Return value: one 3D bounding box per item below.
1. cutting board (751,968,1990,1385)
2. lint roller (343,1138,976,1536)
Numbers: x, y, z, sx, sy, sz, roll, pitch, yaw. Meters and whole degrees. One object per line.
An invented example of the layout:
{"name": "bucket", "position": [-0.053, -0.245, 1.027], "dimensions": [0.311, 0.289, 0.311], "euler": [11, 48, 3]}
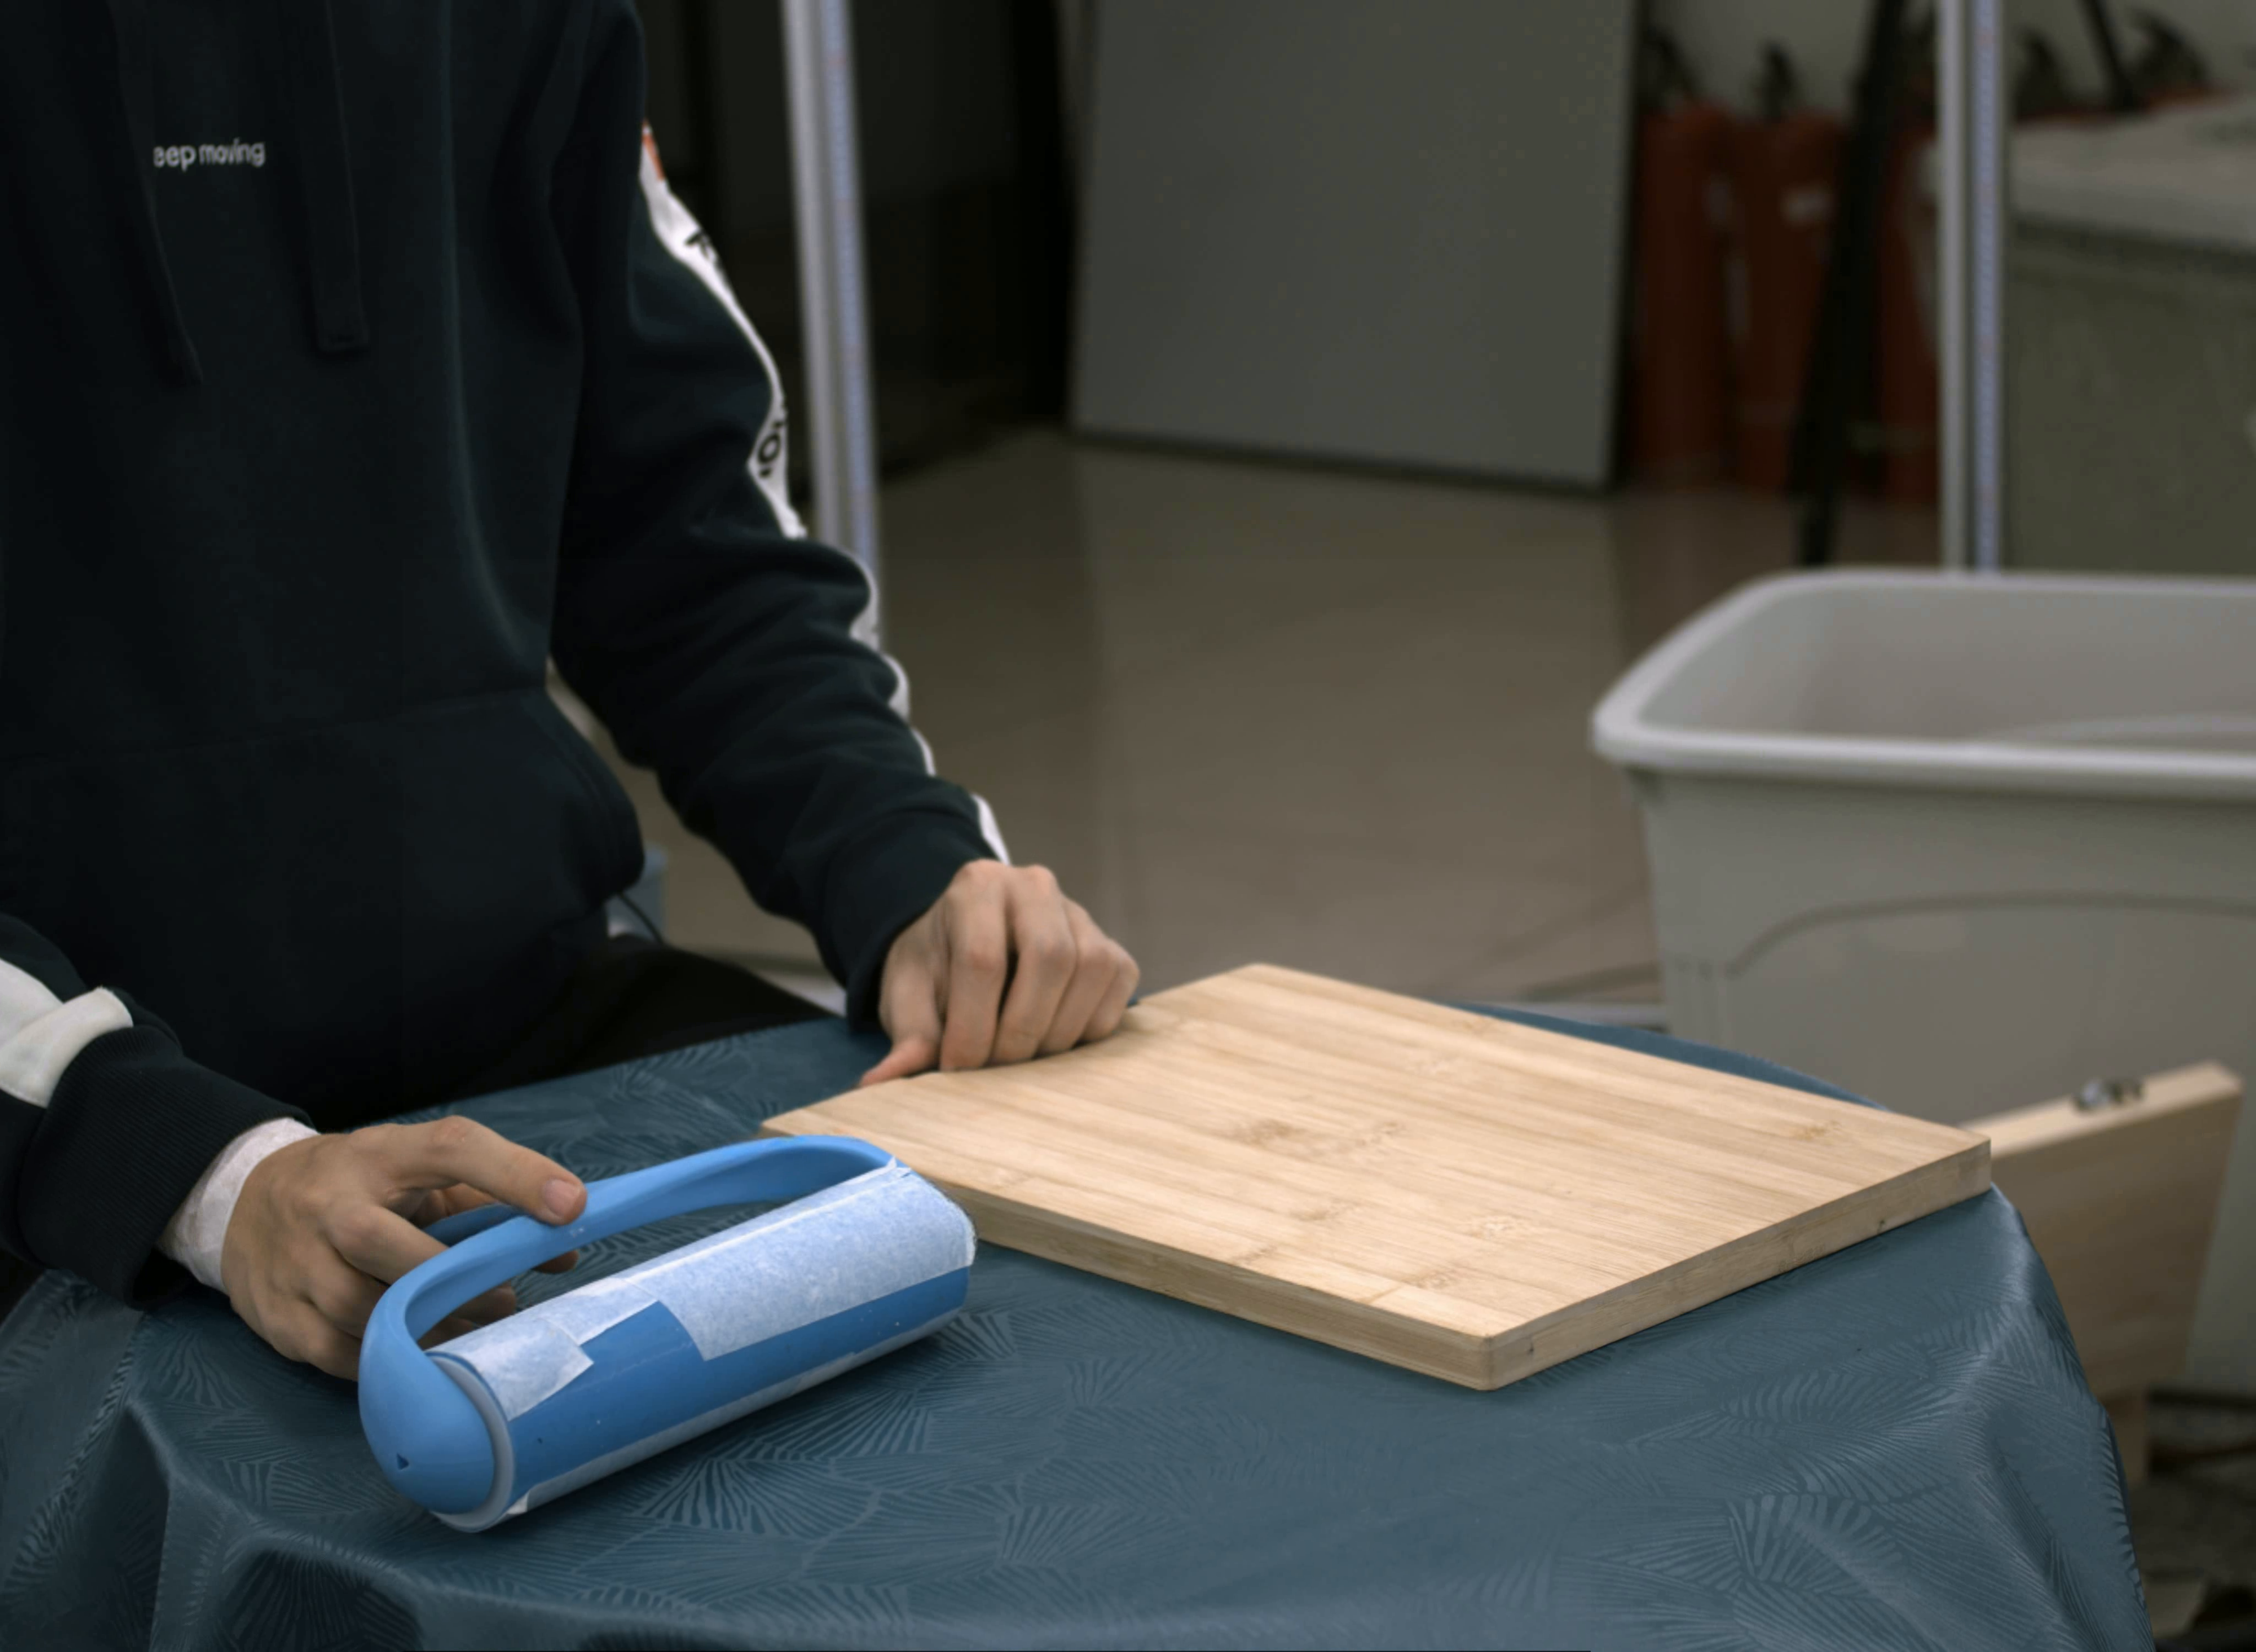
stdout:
{"name": "cutting board", "position": [0.074, 0.109, 1.766], "dimensions": [0.245, 0.024, 0.352], "euler": [-16, 18, -40]}
{"name": "lint roller", "position": [-0.172, 0.144, 1.612], "dimensions": [0.181, 0.068, 0.225], "euler": [7, 19, 38]}
